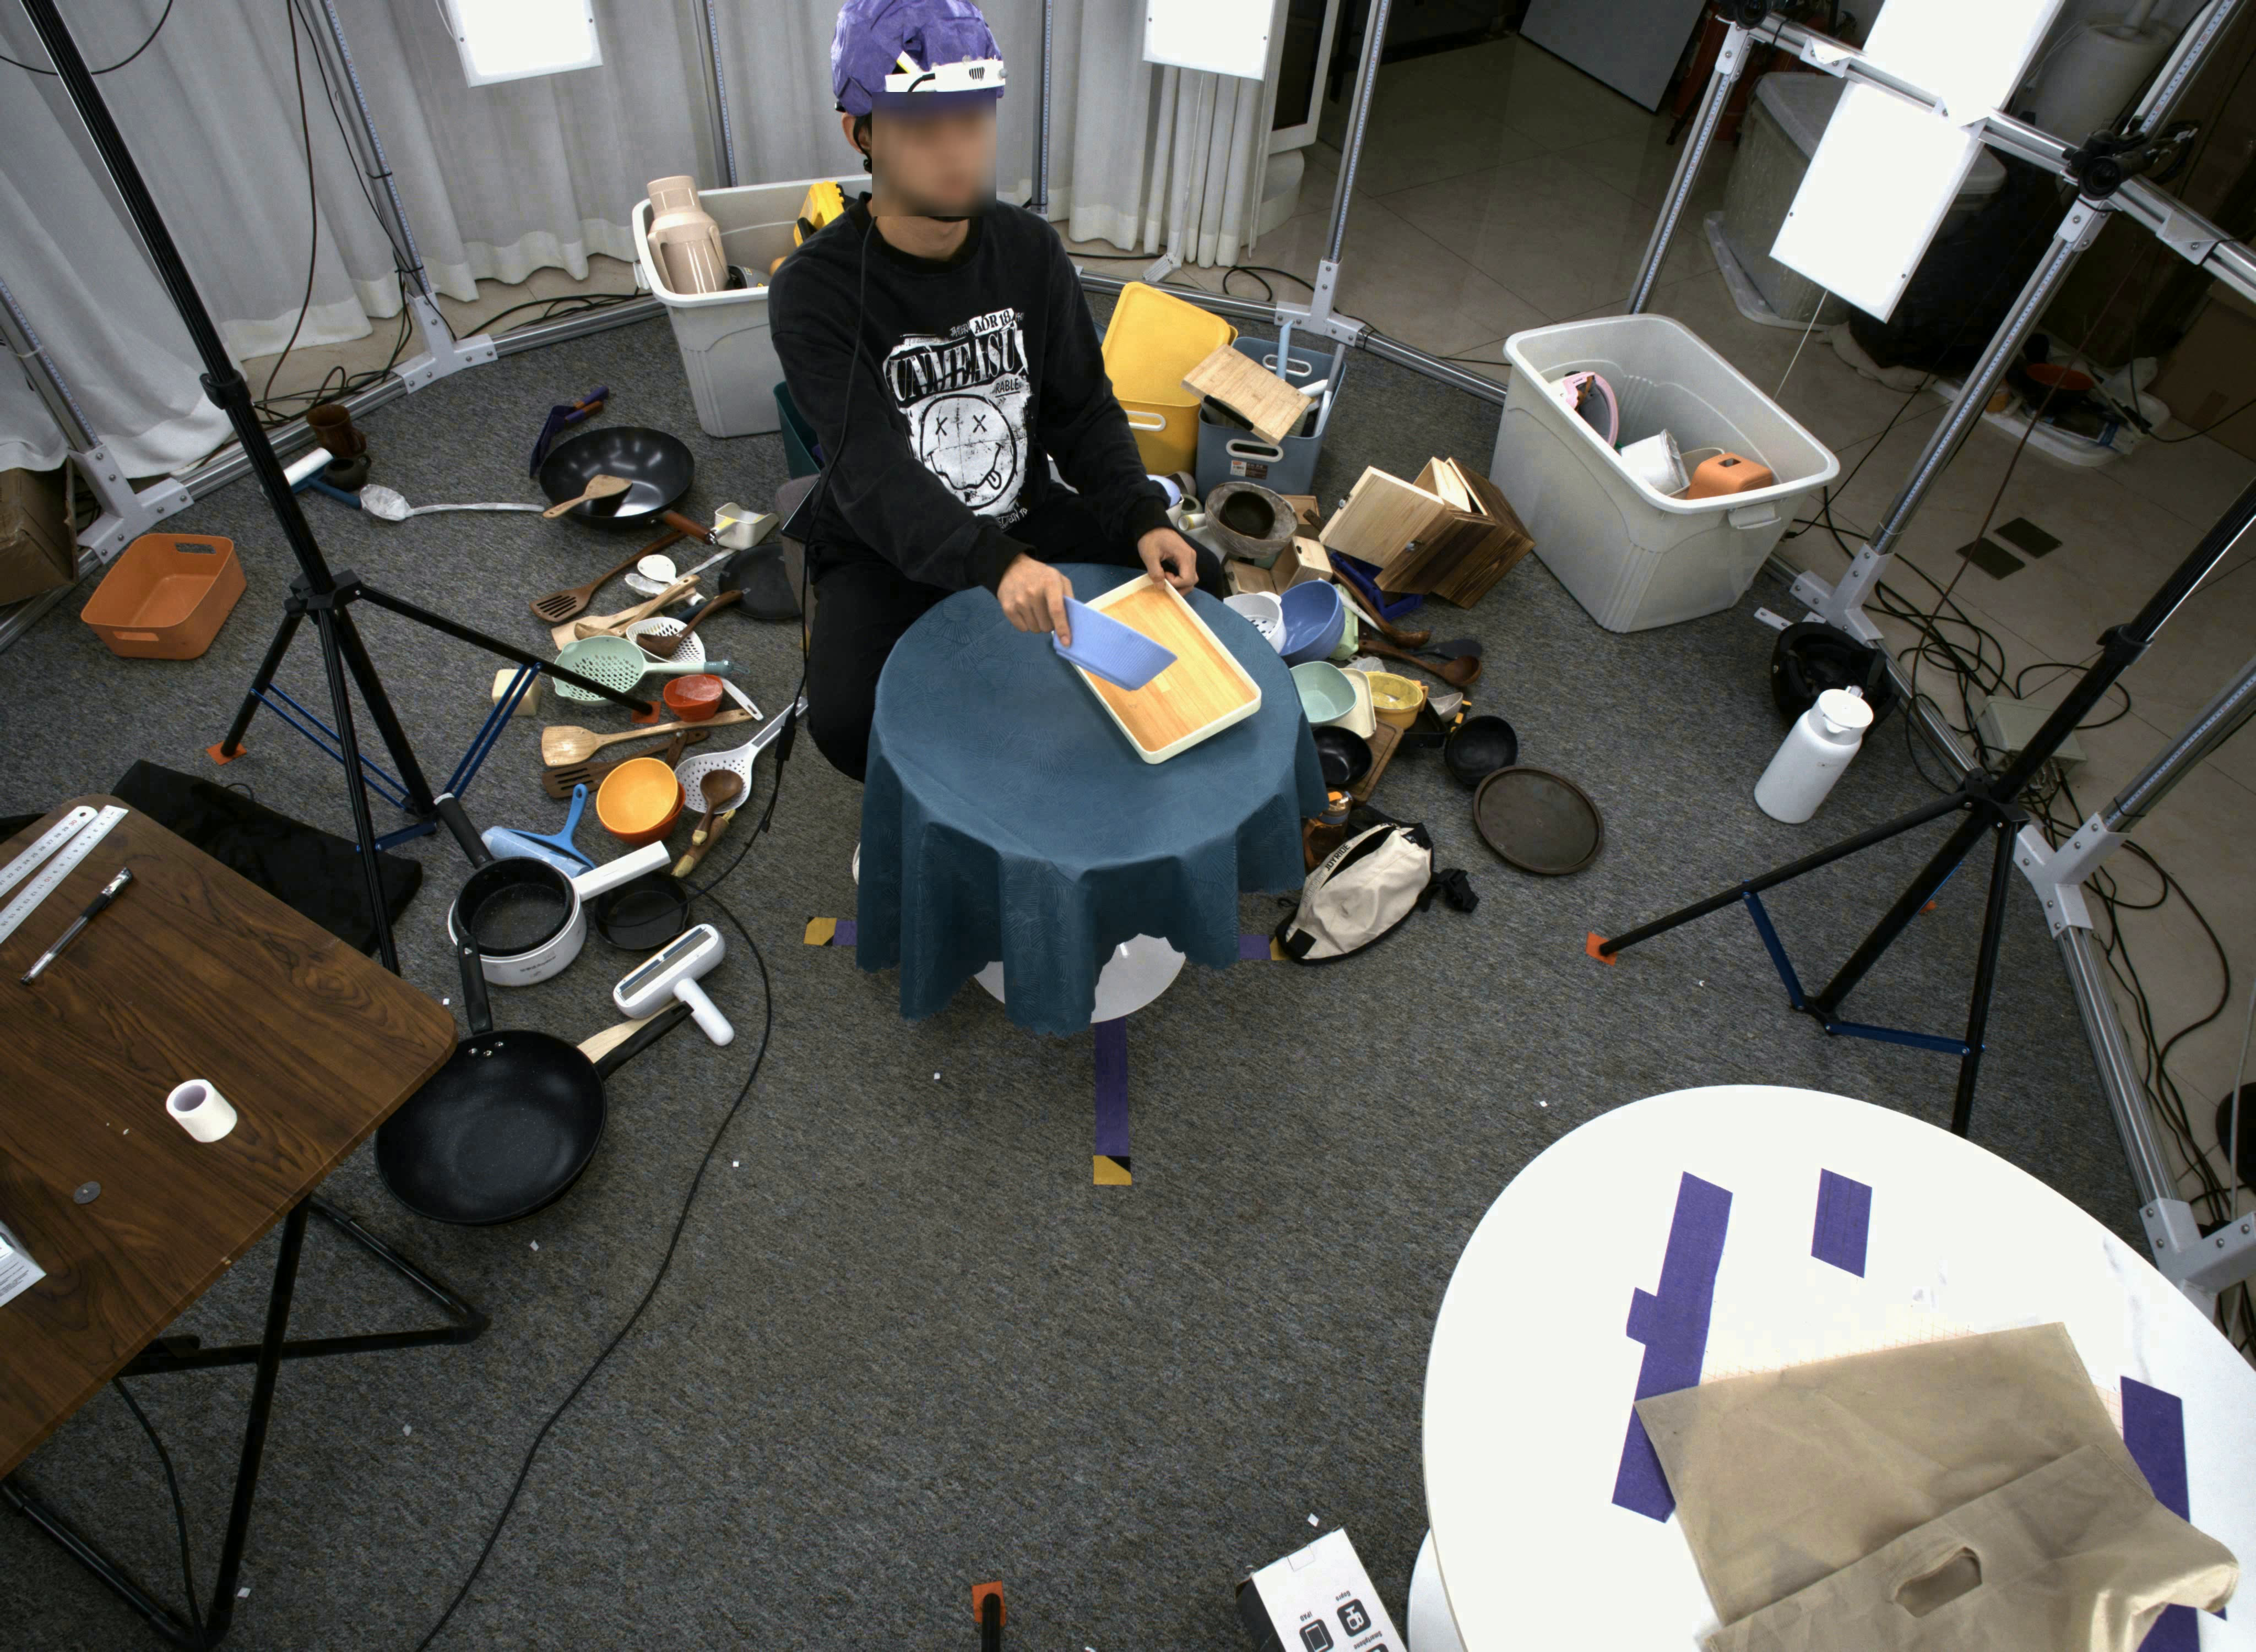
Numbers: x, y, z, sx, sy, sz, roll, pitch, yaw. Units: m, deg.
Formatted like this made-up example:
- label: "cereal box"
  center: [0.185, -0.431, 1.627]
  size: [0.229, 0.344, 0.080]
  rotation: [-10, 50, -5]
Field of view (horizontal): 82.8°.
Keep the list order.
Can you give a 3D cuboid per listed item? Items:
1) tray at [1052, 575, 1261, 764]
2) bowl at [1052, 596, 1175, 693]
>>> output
- label: "tray"
  center: [0.038, -0.231, 1.848]
  size: [0.192, 0.027, 0.307]
  rotation: [-28, 56, -11]
- label: "bowl"
  center: [-0.031, -0.227, 1.659]
  size: [0.178, 0.174, 0.070]
  rotation: [29, 94, 19]
